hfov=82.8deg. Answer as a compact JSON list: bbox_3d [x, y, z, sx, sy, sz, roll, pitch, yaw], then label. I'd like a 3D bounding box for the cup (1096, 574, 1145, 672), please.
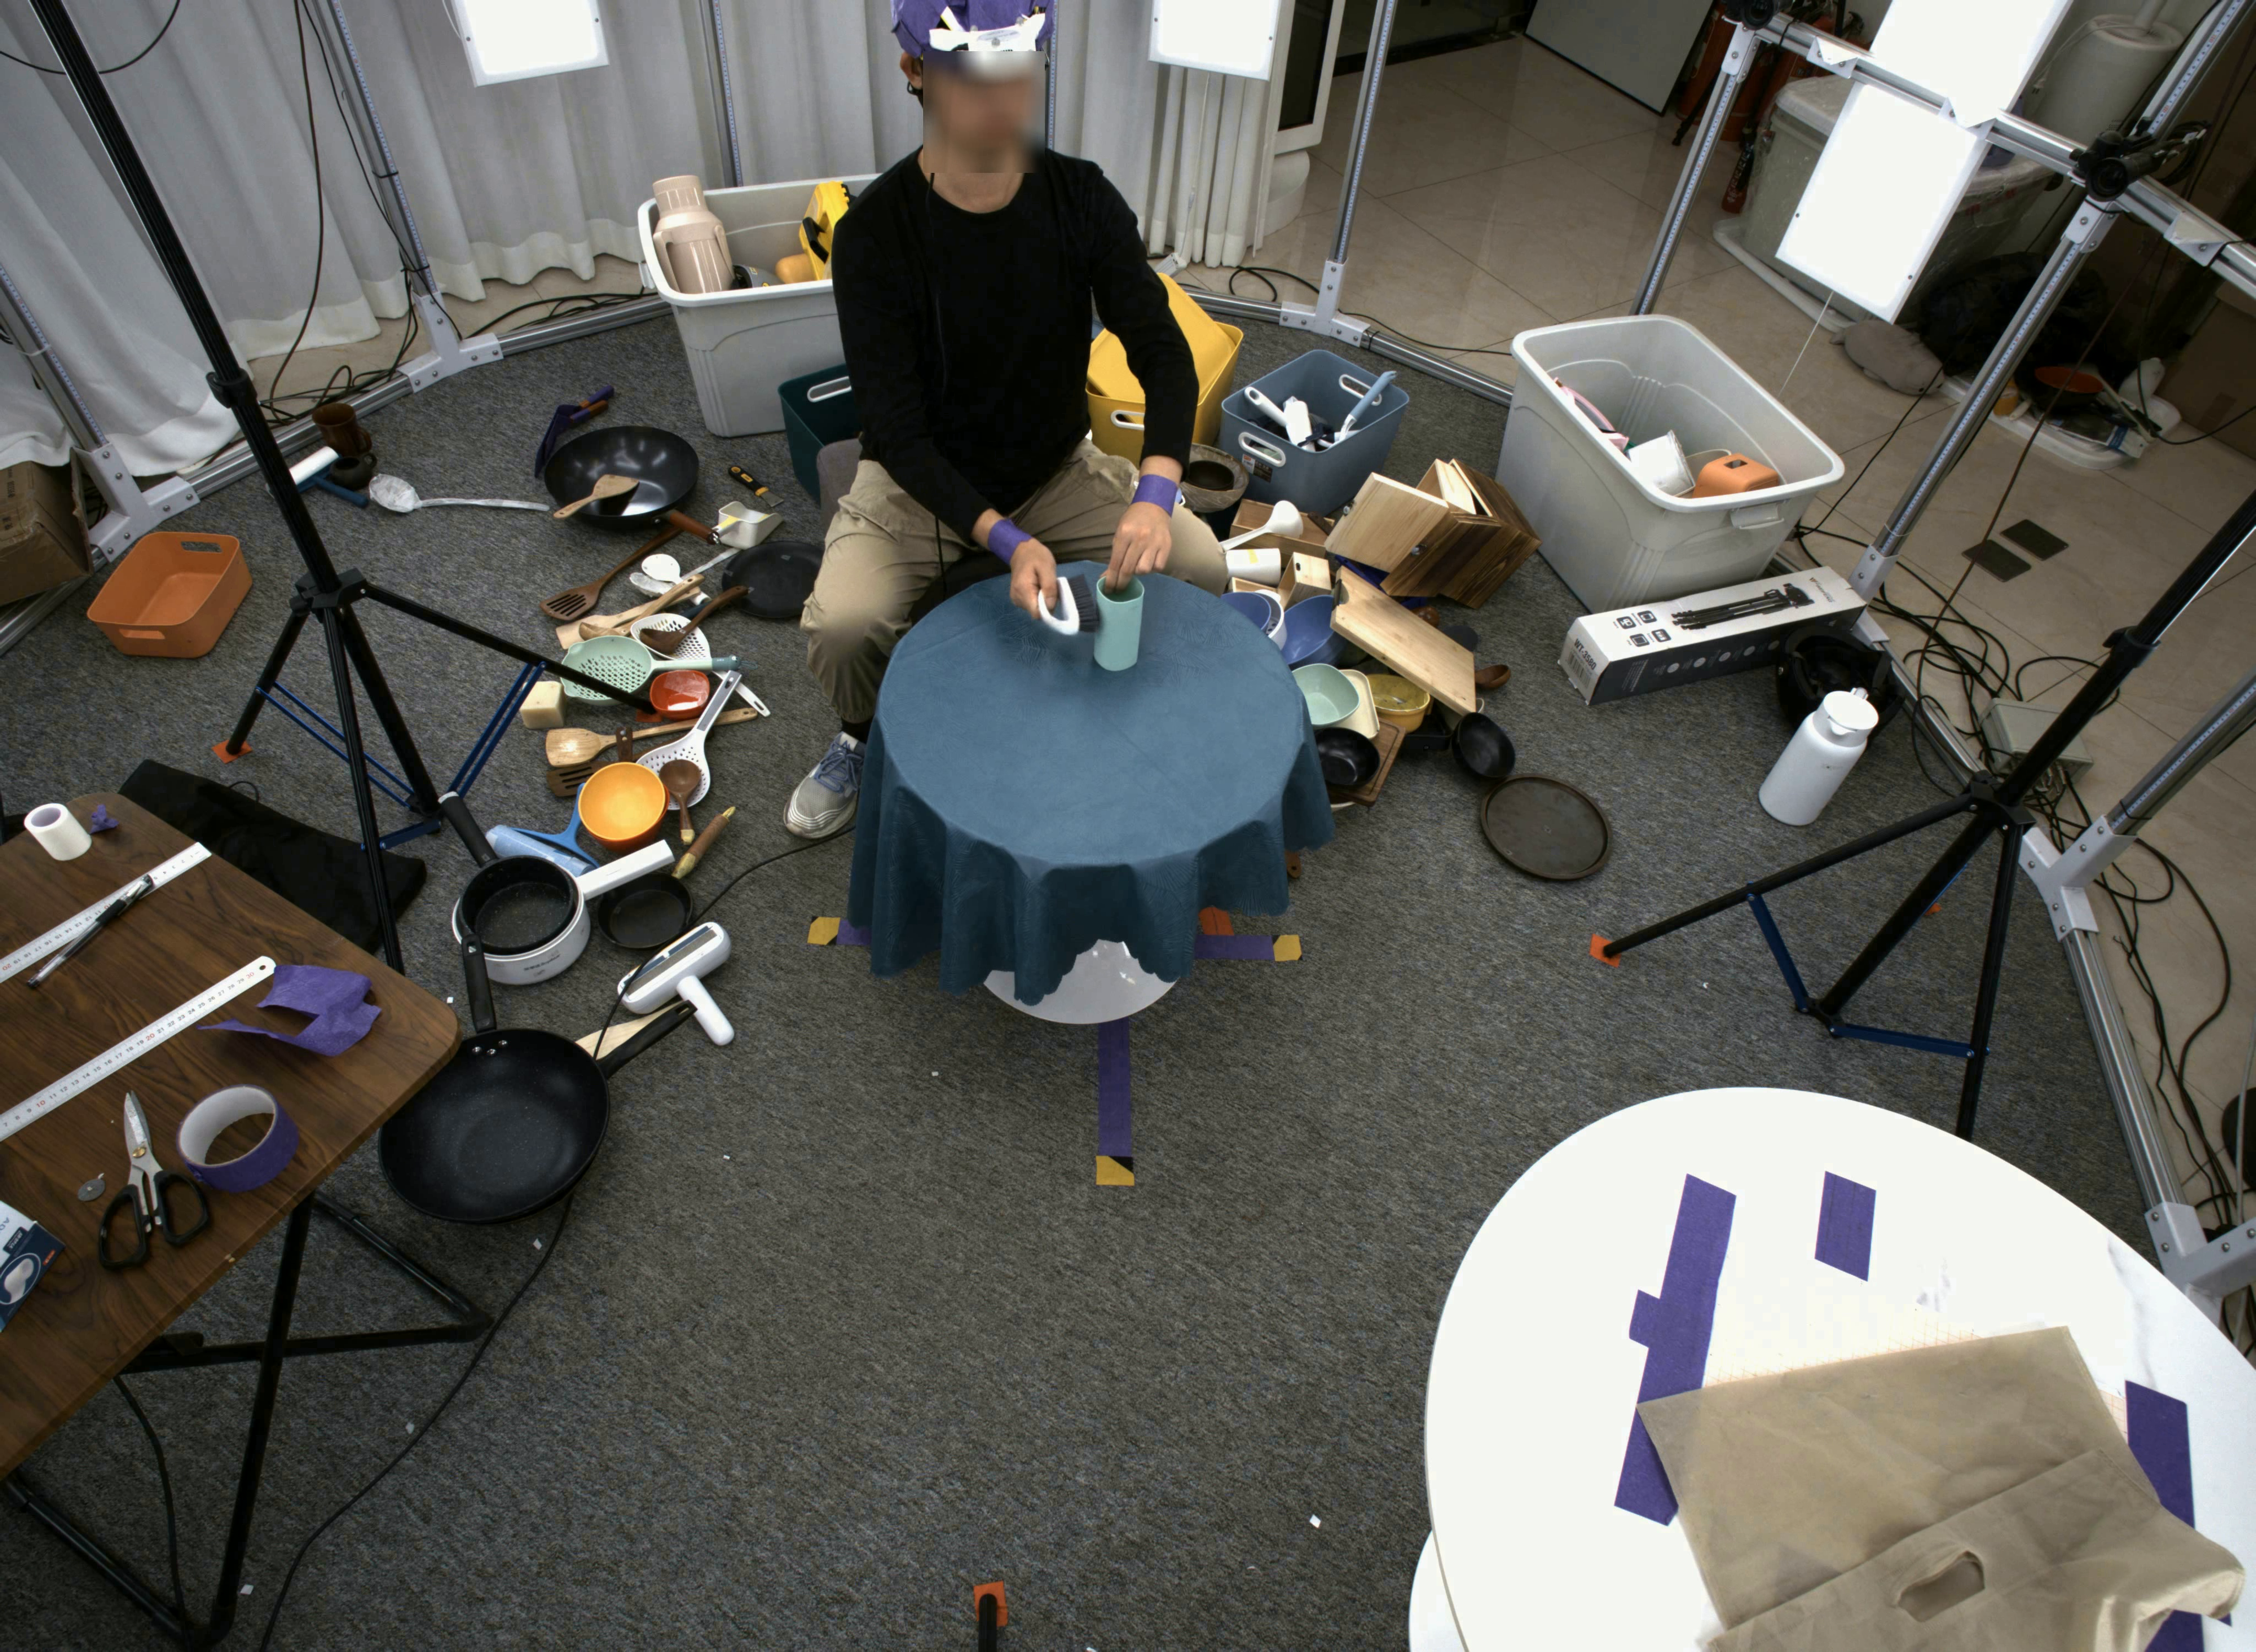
[{"bbox_3d":[-0.014,-0.288,1.836,0.066,0.129,0.068,2,50,-3],"label":"cup"}]

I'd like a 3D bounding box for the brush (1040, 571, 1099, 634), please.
[{"bbox_3d":[-0.087,-0.314,1.819,0.072,0.049,0.101,-10,56,-13],"label":"brush"}]
